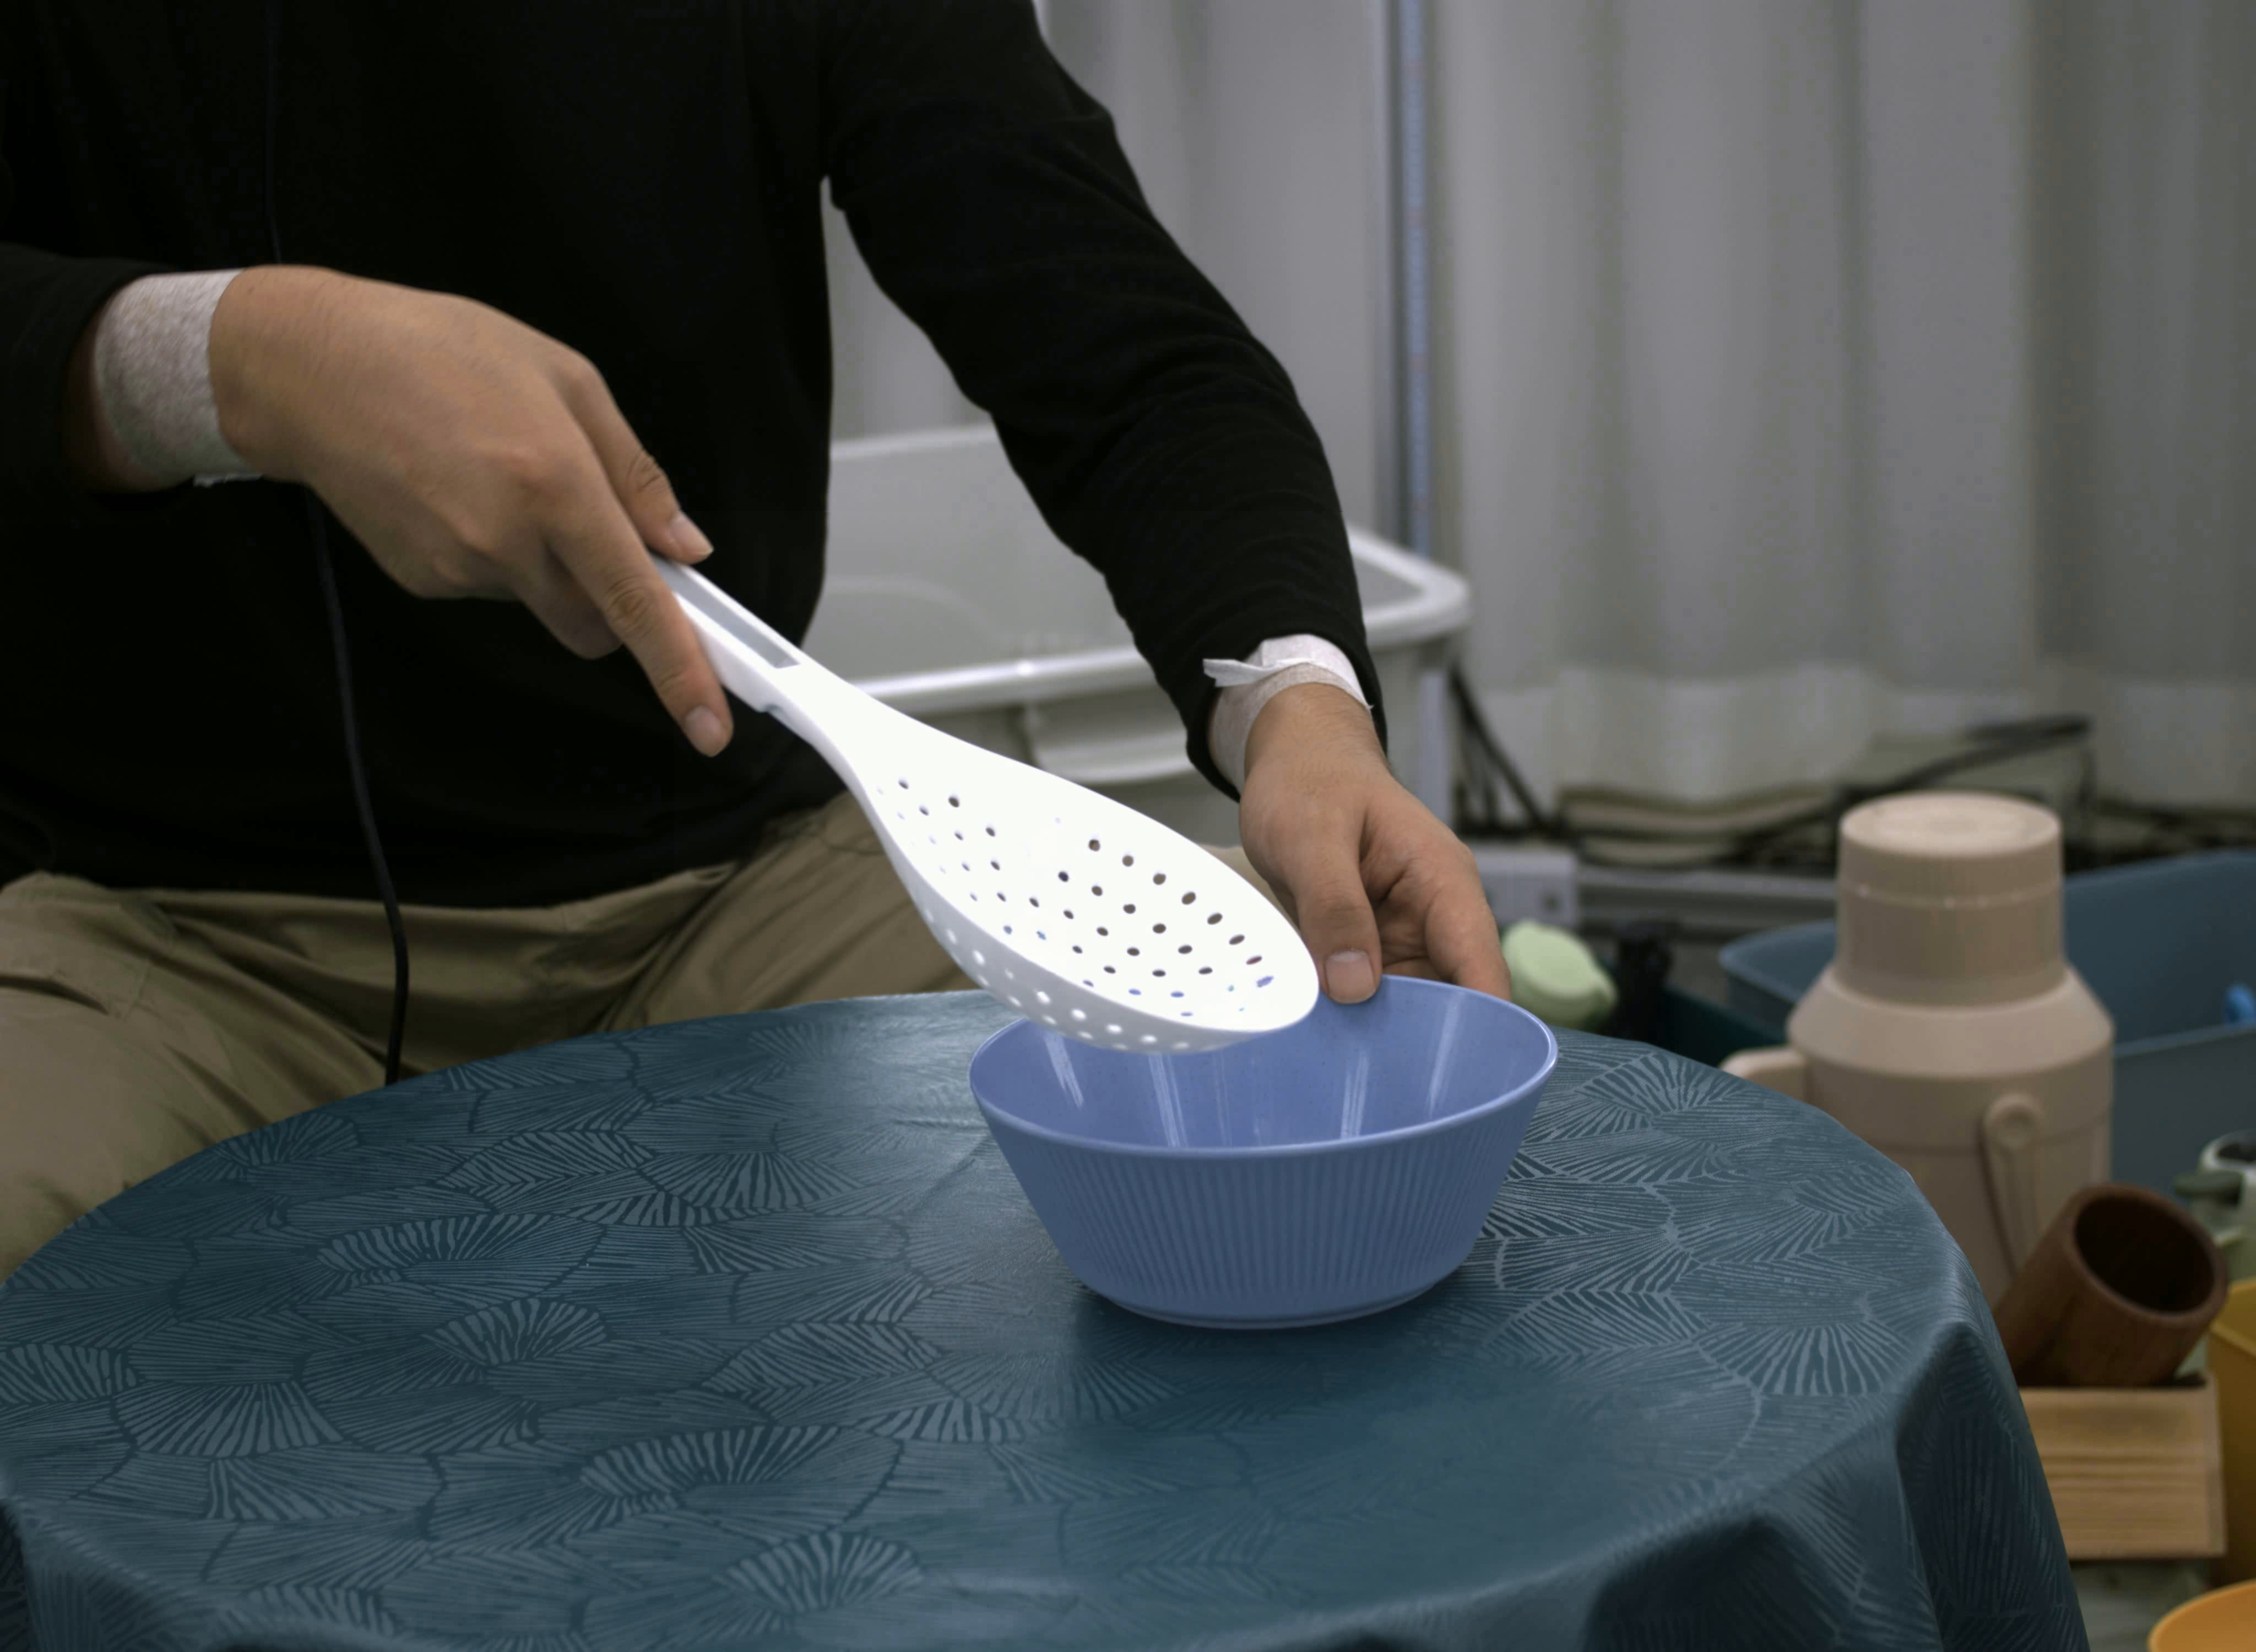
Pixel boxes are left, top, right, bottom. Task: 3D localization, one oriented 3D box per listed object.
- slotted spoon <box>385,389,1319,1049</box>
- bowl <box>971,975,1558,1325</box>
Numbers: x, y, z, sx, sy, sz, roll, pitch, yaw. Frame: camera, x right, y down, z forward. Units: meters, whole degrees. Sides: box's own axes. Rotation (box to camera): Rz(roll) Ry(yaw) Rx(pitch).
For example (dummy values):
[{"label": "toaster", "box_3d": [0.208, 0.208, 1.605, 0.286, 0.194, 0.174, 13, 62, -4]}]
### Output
[{"label": "slotted spoon", "box_3d": [-0.091, -0.035, 1.615, 0.352, 0.045, 0.136, 40, 26, 21]}, {"label": "bowl", "box_3d": [0.041, 0.099, 1.630, 0.175, 0.070, 0.177, -2, 14, 0]}]
